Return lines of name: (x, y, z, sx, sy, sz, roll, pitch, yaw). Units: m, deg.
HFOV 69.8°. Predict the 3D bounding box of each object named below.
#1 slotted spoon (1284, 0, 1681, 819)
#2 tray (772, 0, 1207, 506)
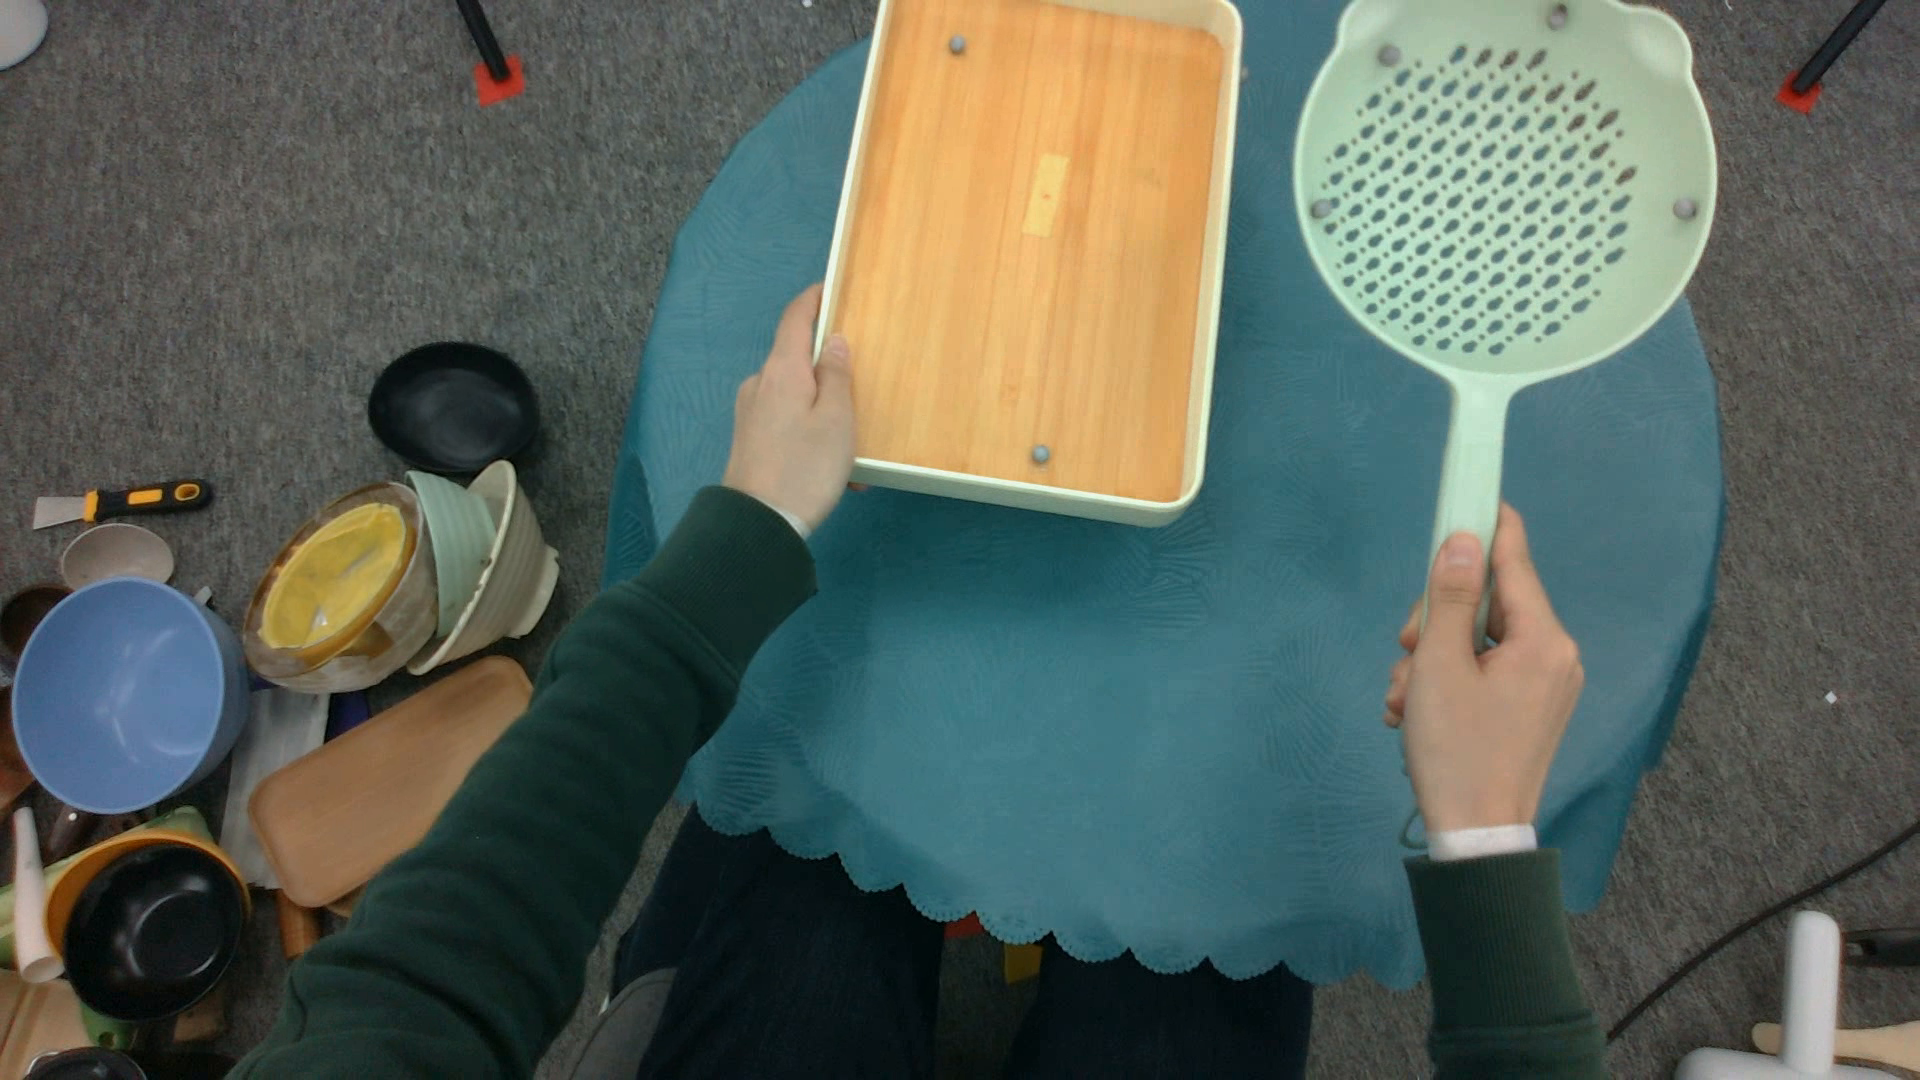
slotted spoon: (0.209, -0.062, 0.589, 0.169, 0.075, 0.359, 8, 77, 3)
tray: (0.022, -0.169, 0.697, 0.191, 0.027, 0.301, 9, 69, -3)
